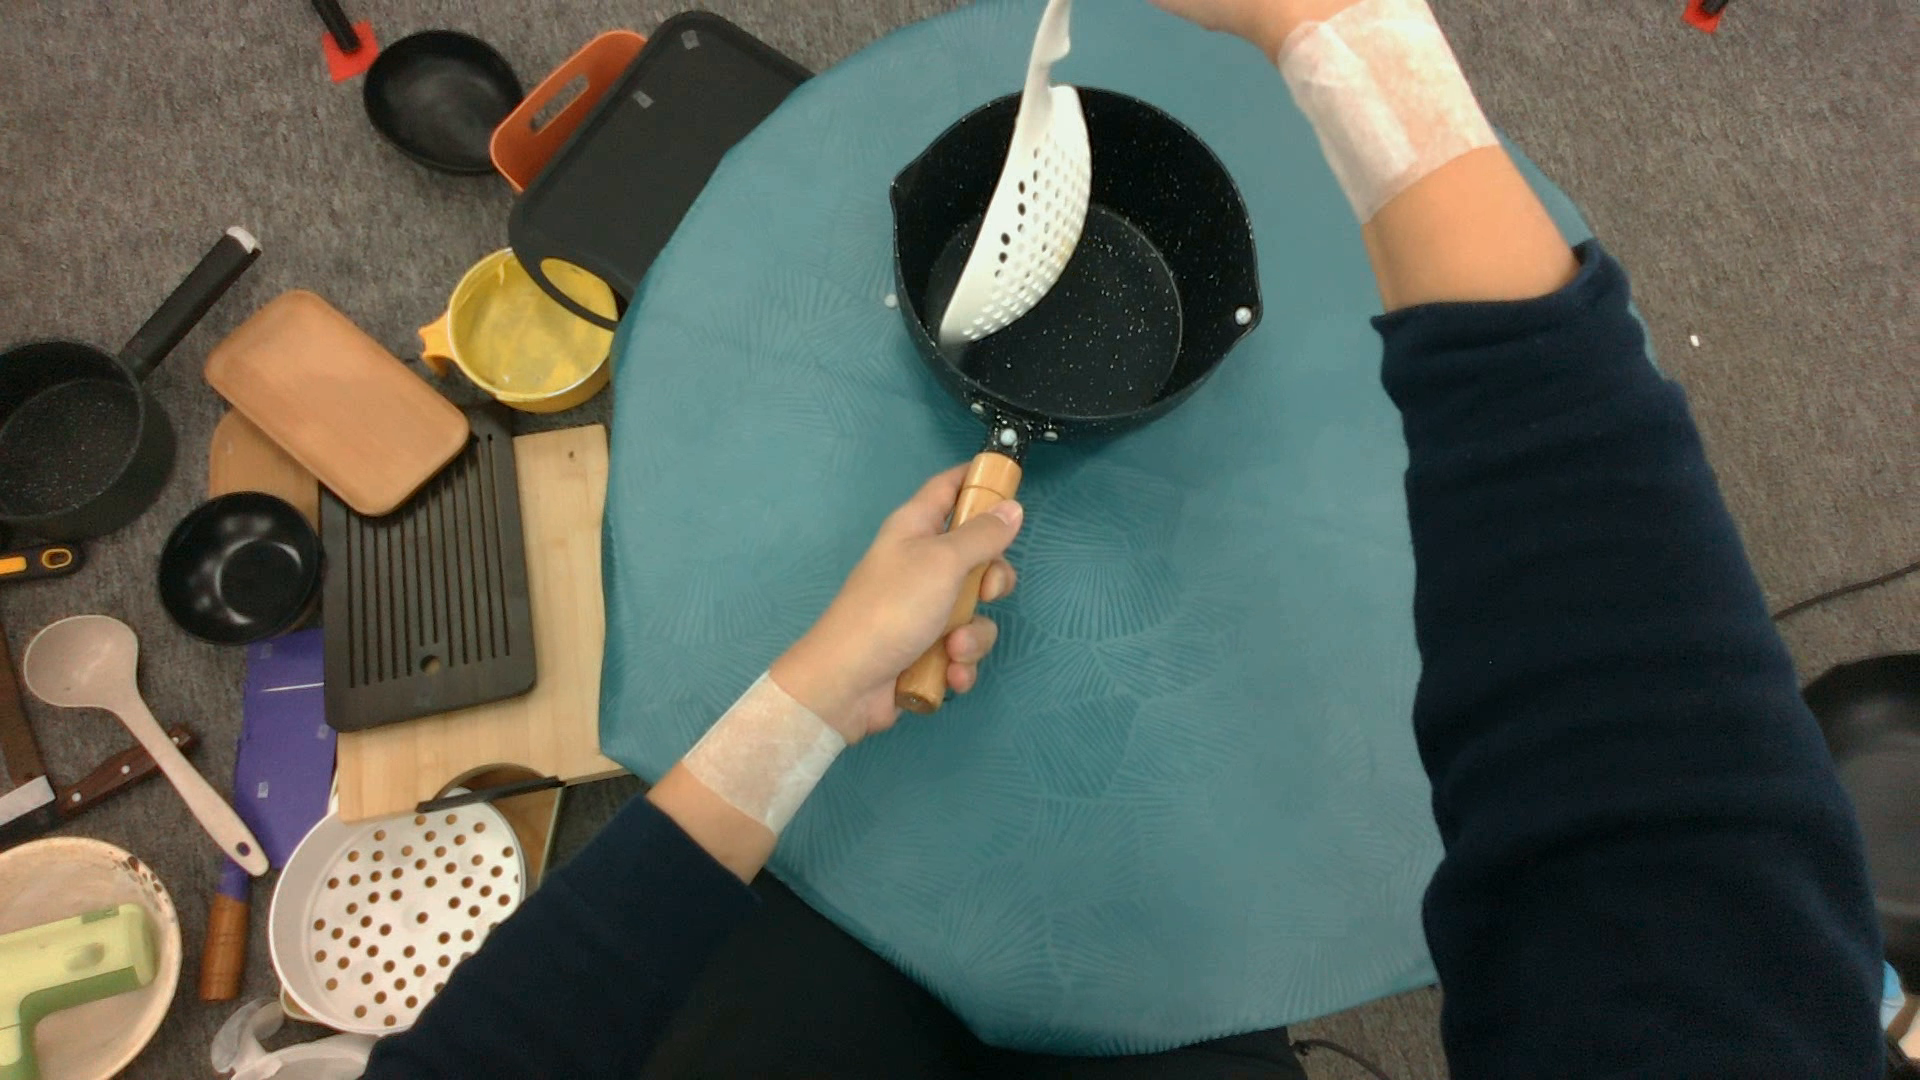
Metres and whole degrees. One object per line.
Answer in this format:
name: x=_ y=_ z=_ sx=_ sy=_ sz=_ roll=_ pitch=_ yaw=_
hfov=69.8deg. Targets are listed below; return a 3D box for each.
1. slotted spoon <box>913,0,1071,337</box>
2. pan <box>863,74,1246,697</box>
slotted spoon: x=0.031 y=-0.186 z=0.591 sx=0.050 sy=0.347 sz=0.137 roll=28 pitch=75 yaw=6
pan: x=0.024 y=-0.074 z=0.702 sx=0.207 sy=0.108 sz=0.344 roll=19 pitch=73 yaw=-1
